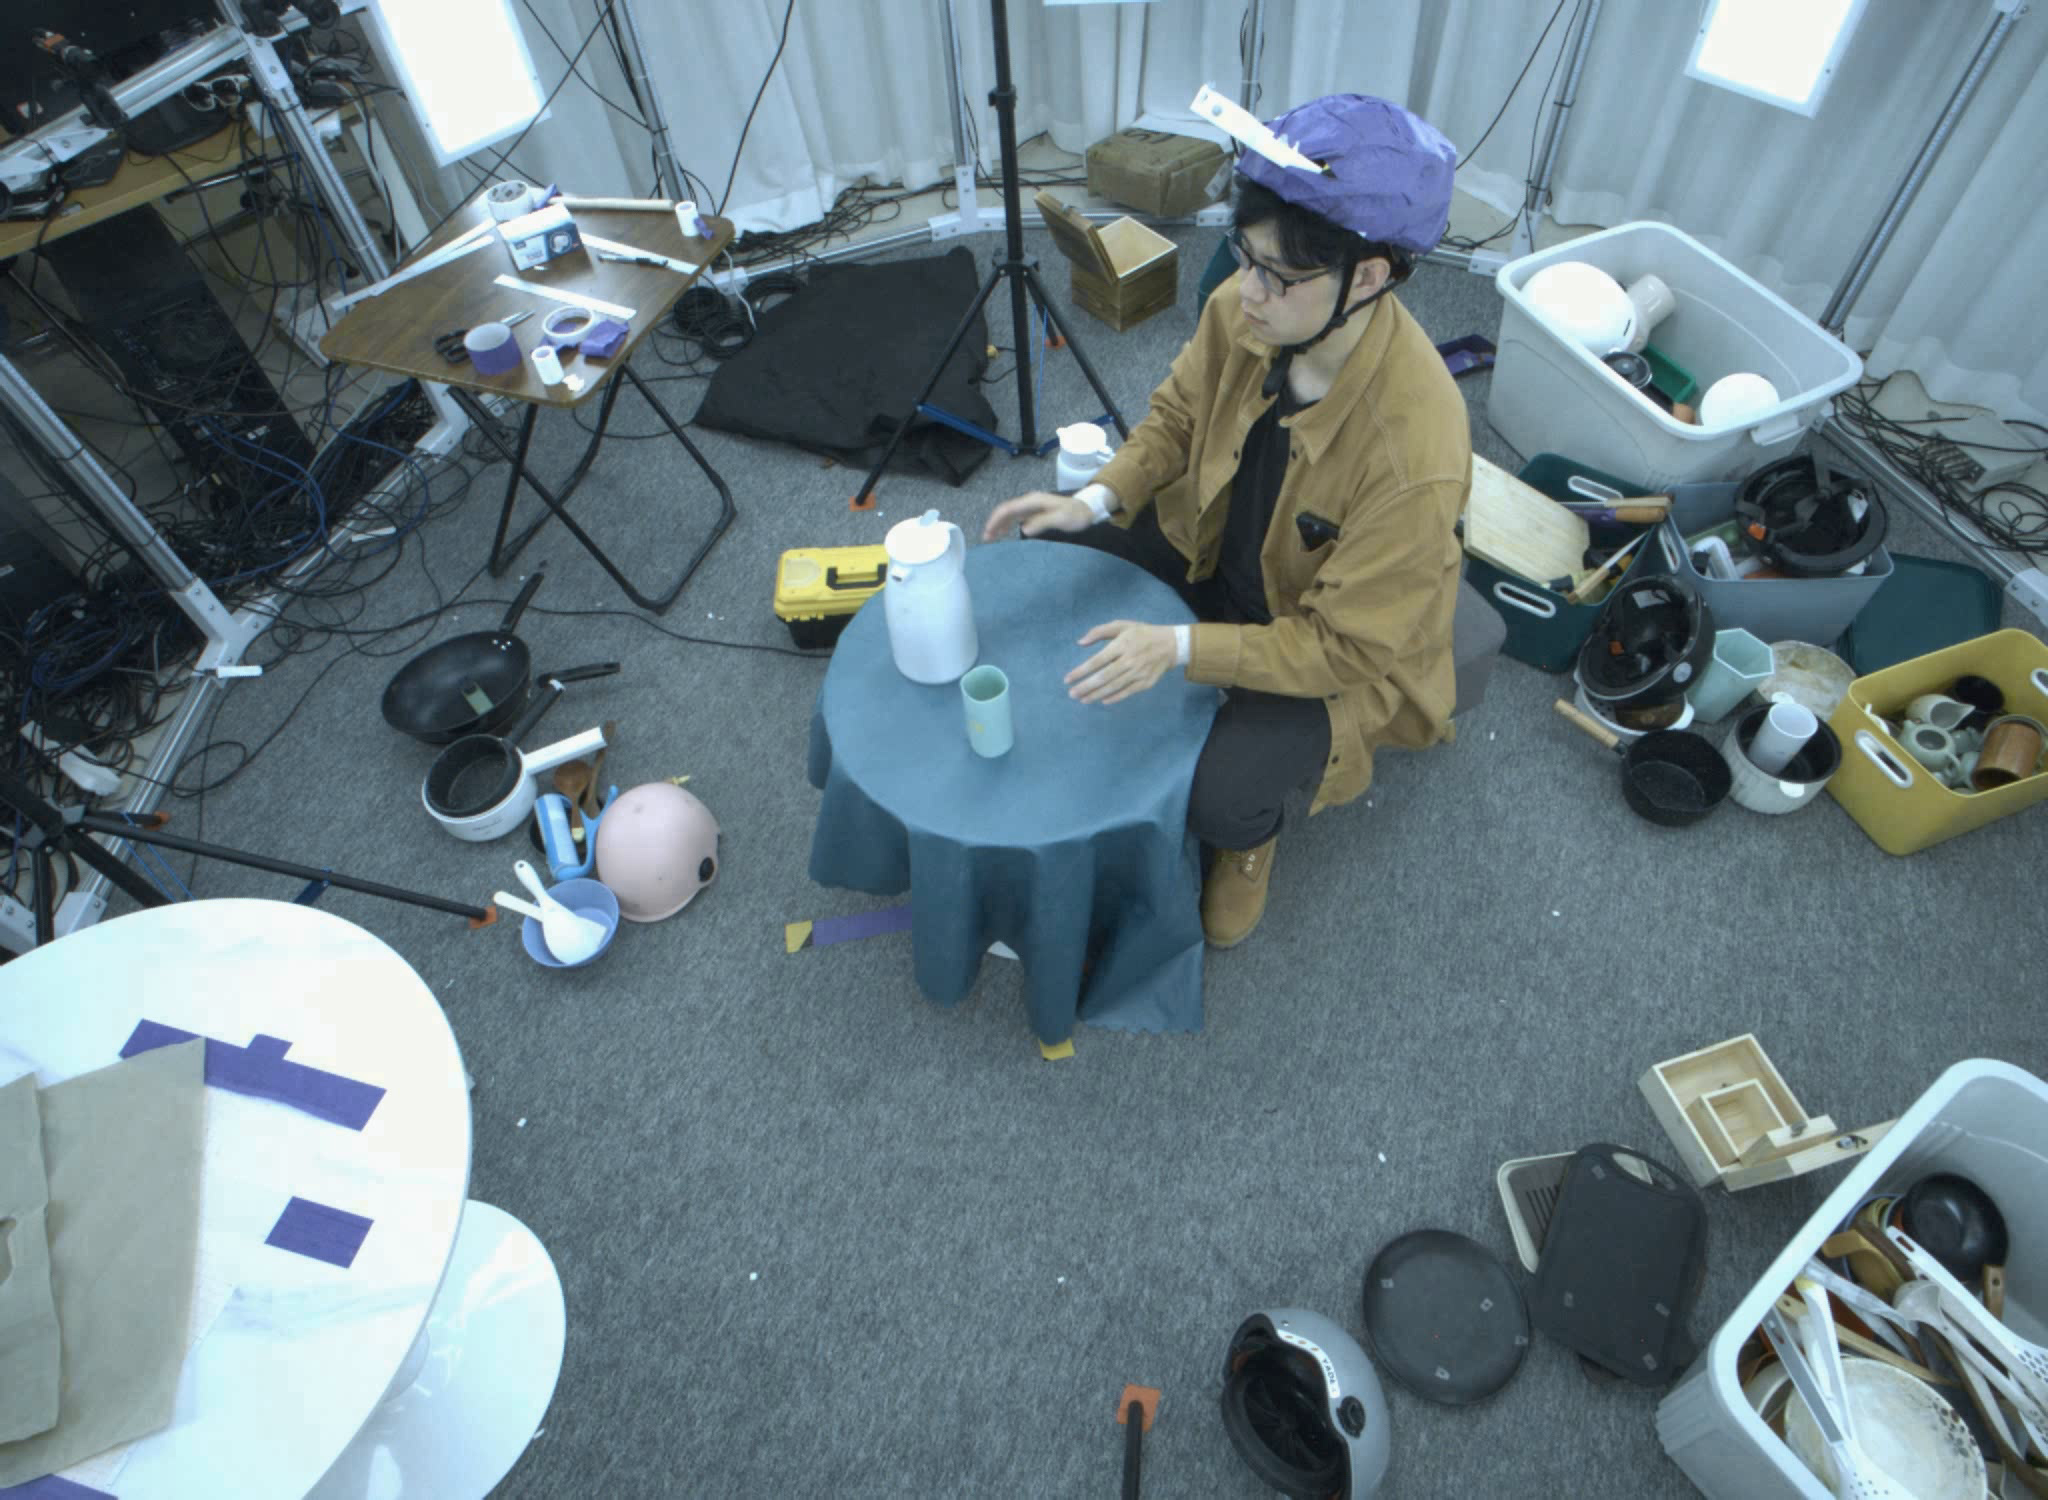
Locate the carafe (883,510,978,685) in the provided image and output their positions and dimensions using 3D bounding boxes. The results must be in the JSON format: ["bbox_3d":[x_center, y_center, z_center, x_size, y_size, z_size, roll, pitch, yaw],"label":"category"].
[{"bbox_3d":[-0.137,-0.238,1.805,0.131,0.251,0.168,19,57,17],"label":"carafe"}]

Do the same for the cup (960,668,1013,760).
[{"bbox_3d":[-0.051,-0.050,1.744,0.066,0.134,0.066,-1,54,3],"label":"cup"}]
